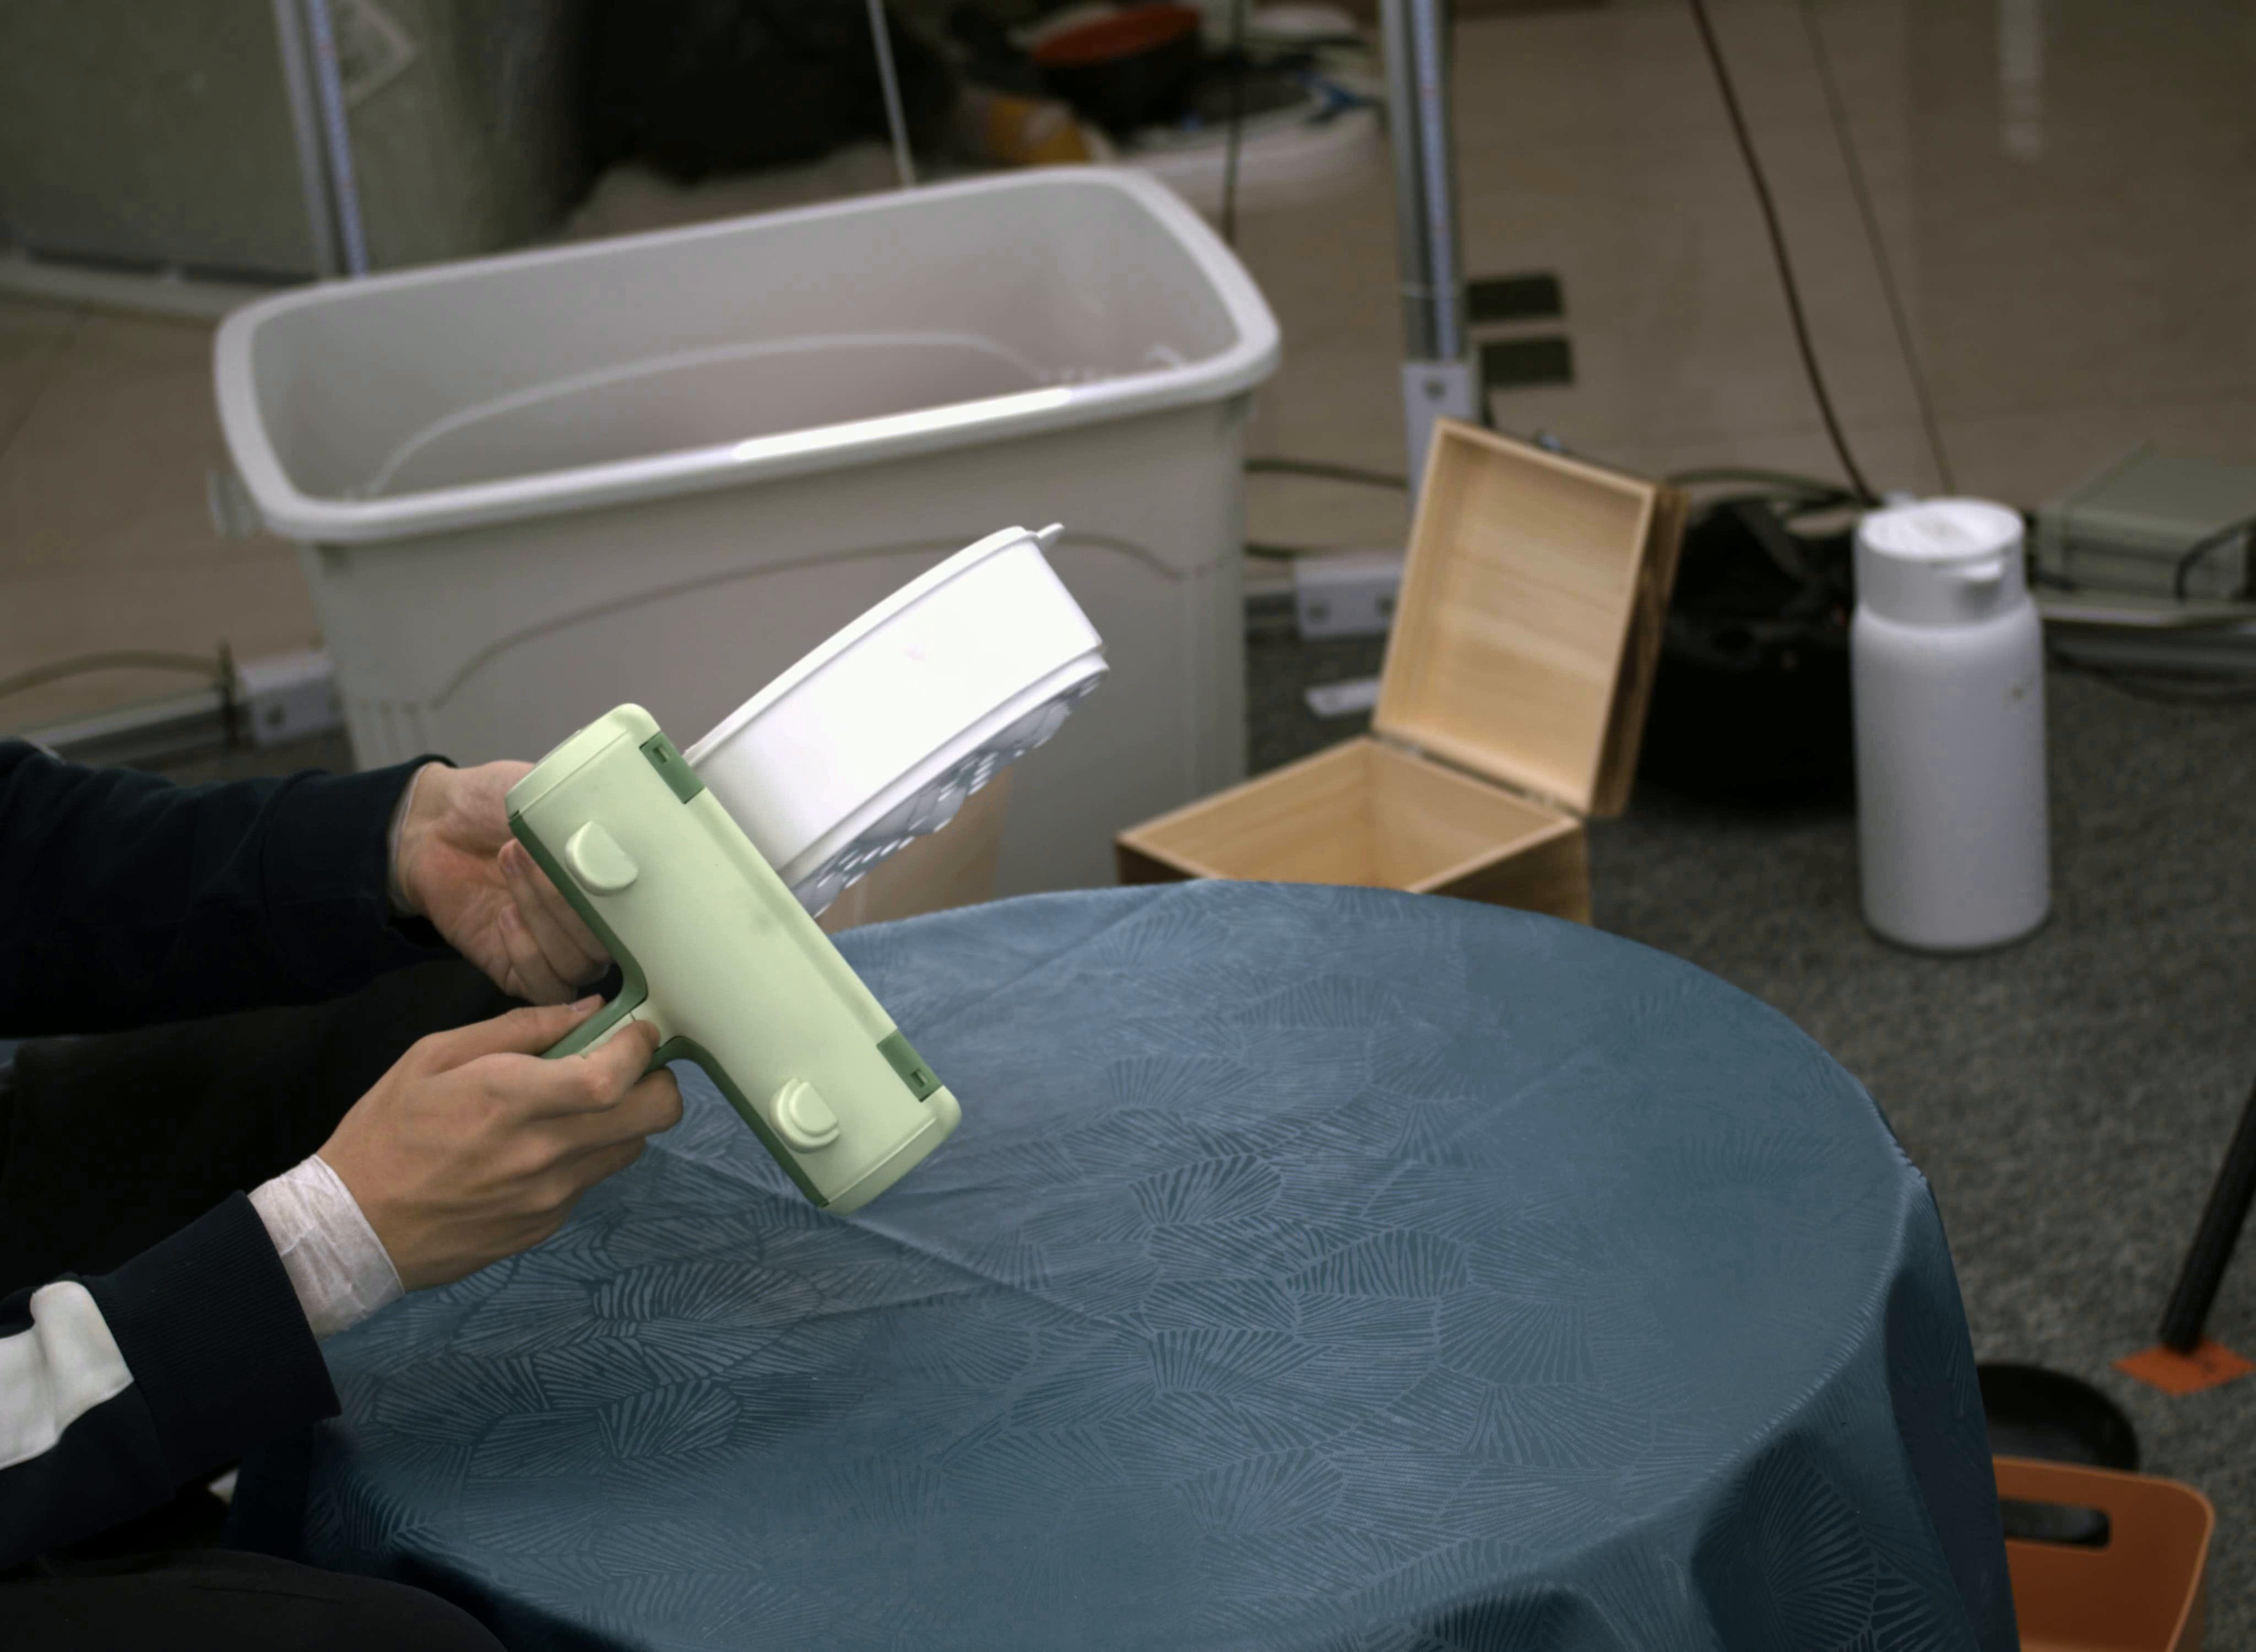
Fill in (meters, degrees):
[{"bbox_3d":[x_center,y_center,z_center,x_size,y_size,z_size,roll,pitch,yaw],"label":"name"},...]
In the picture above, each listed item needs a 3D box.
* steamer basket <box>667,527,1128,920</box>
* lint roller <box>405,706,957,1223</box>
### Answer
[{"bbox_3d":[-0.093,-0.029,2.116,0.229,0.069,0.203,-33,-3,-25],"label":"steamer basket"},{"bbox_3d":[-0.189,0.085,2.020,0.183,0.199,0.082,-38,4,4],"label":"lint roller"}]
